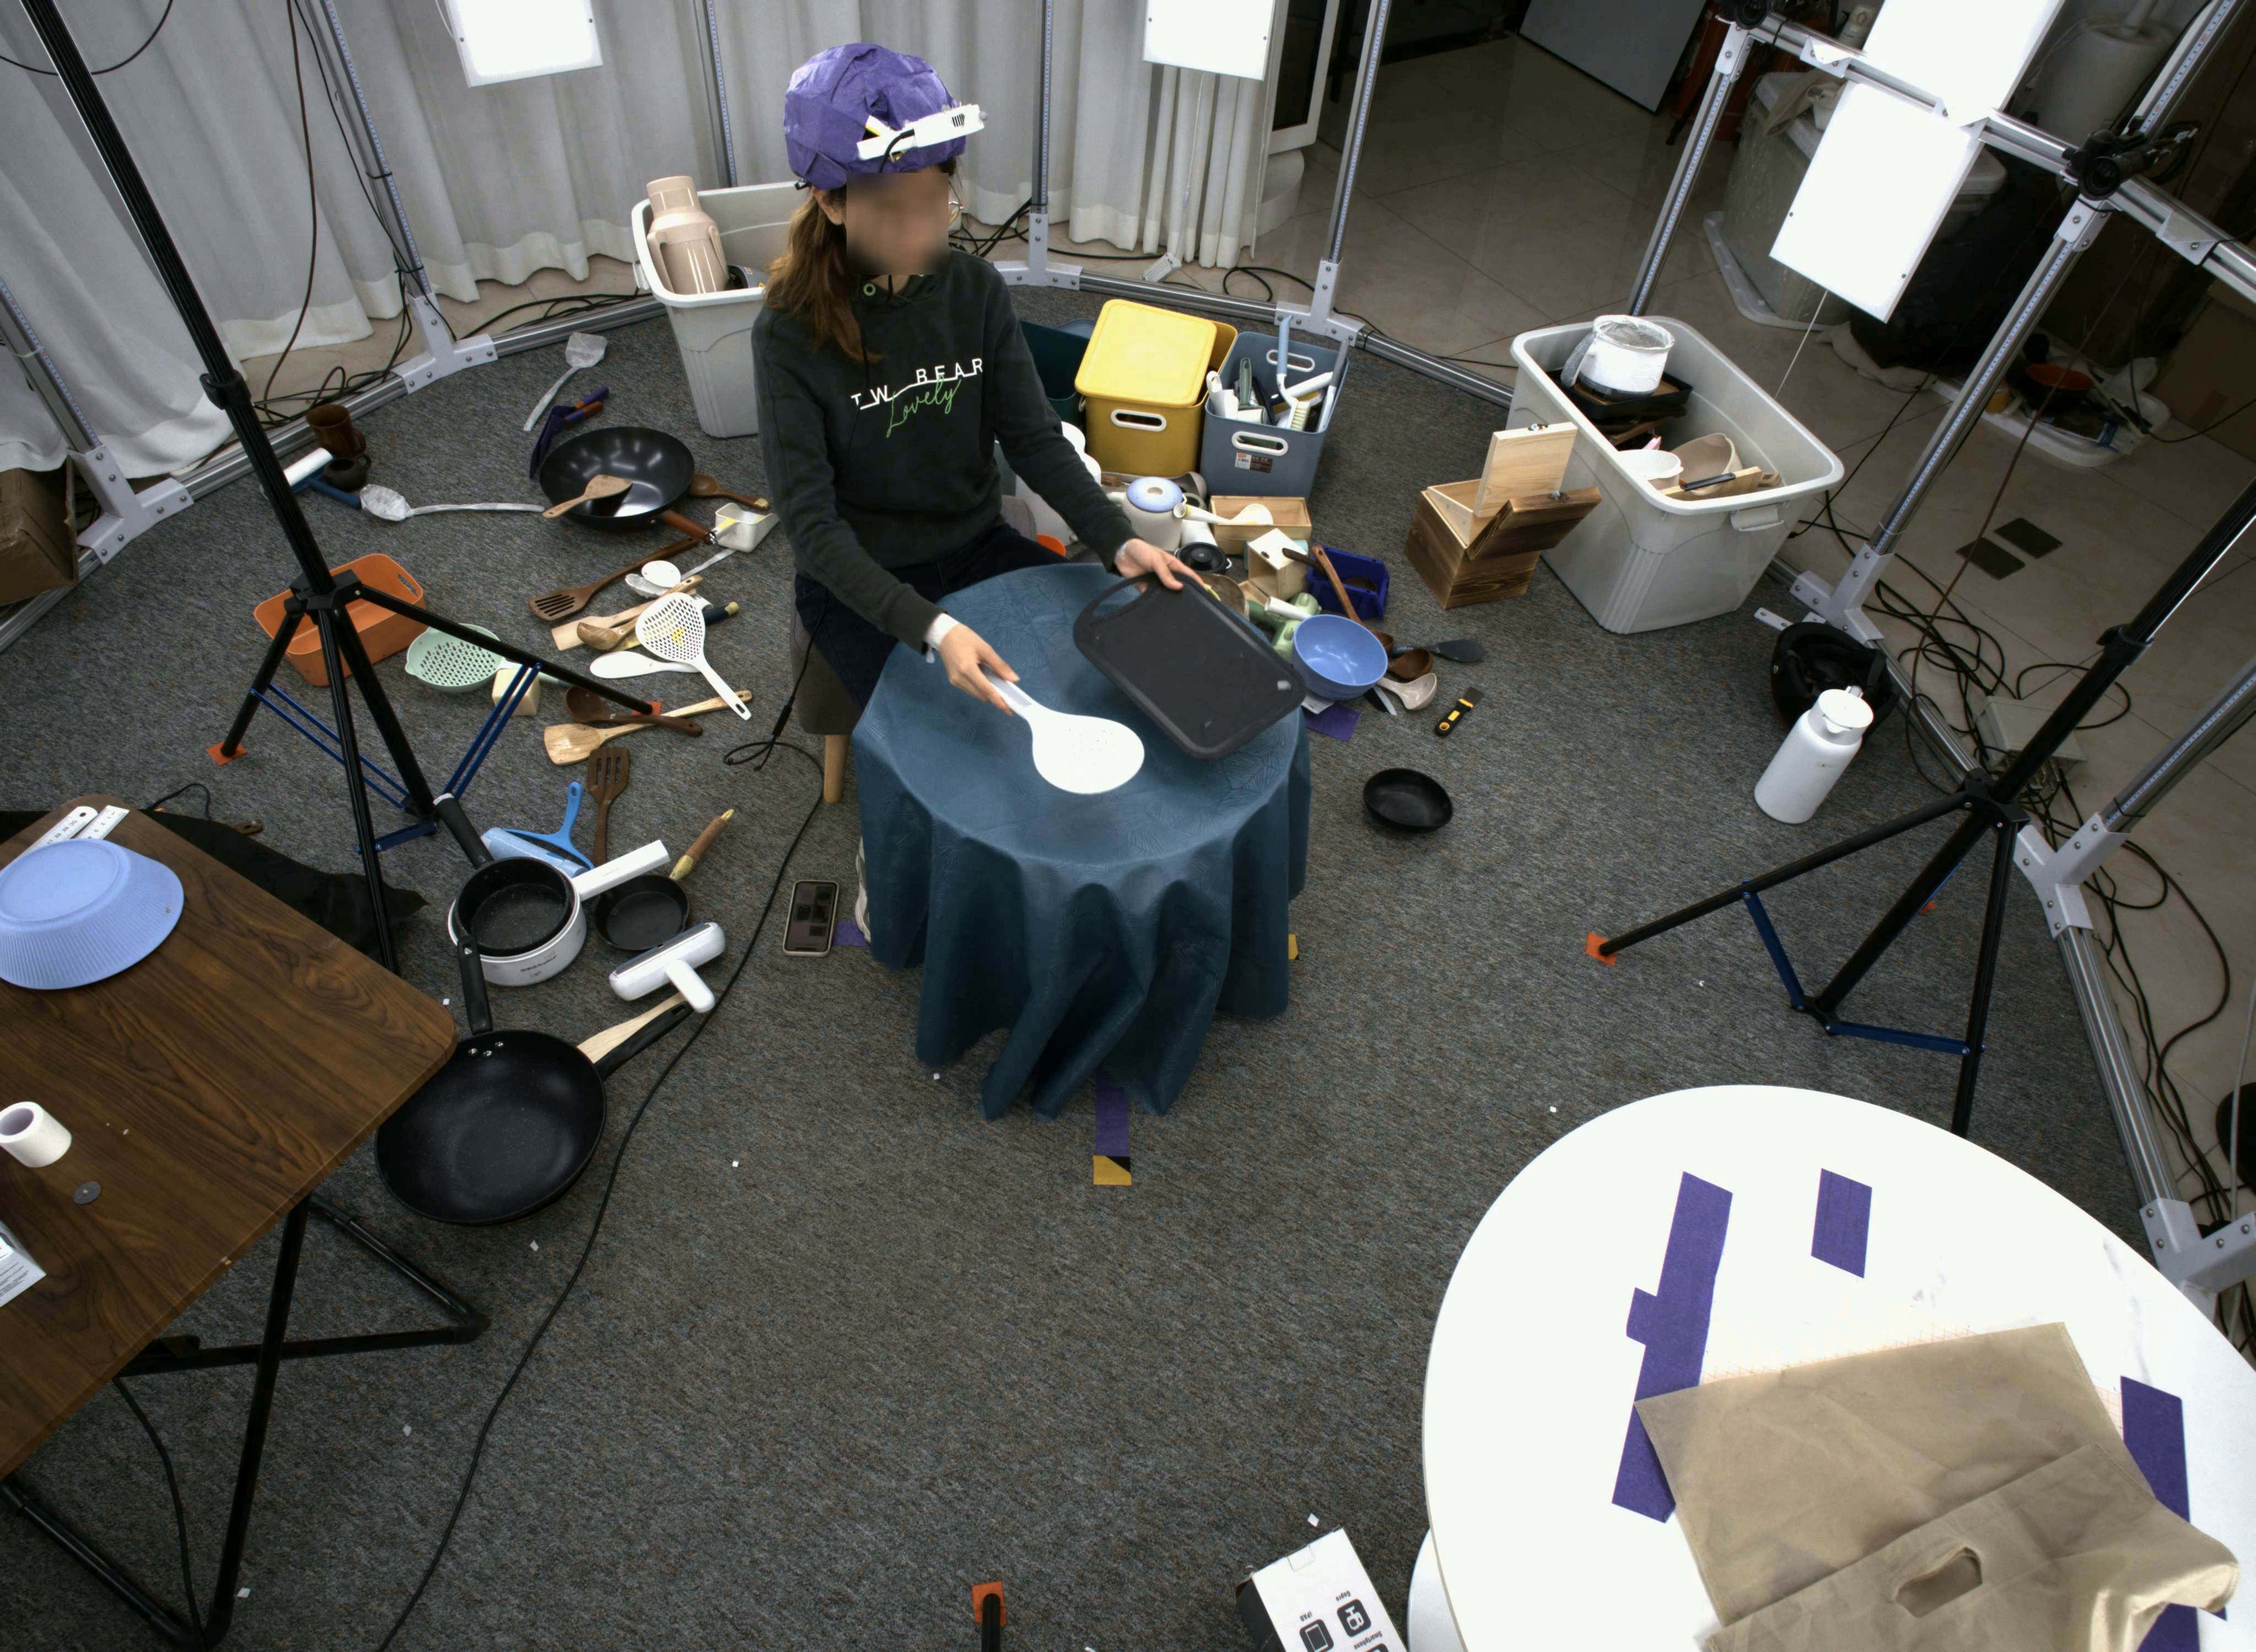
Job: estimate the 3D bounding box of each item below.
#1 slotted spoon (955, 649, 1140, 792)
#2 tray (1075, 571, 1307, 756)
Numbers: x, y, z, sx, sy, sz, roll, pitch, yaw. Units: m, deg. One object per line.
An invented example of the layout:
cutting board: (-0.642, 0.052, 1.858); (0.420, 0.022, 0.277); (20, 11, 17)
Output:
slotted spoon: (-0.121, -0.144, 1.678); (0.137, 0.044, 0.356); (-30, 54, -26)
tray: (0.079, -0.237, 1.779); (0.212, 0.009, 0.331); (-33, 61, -21)
